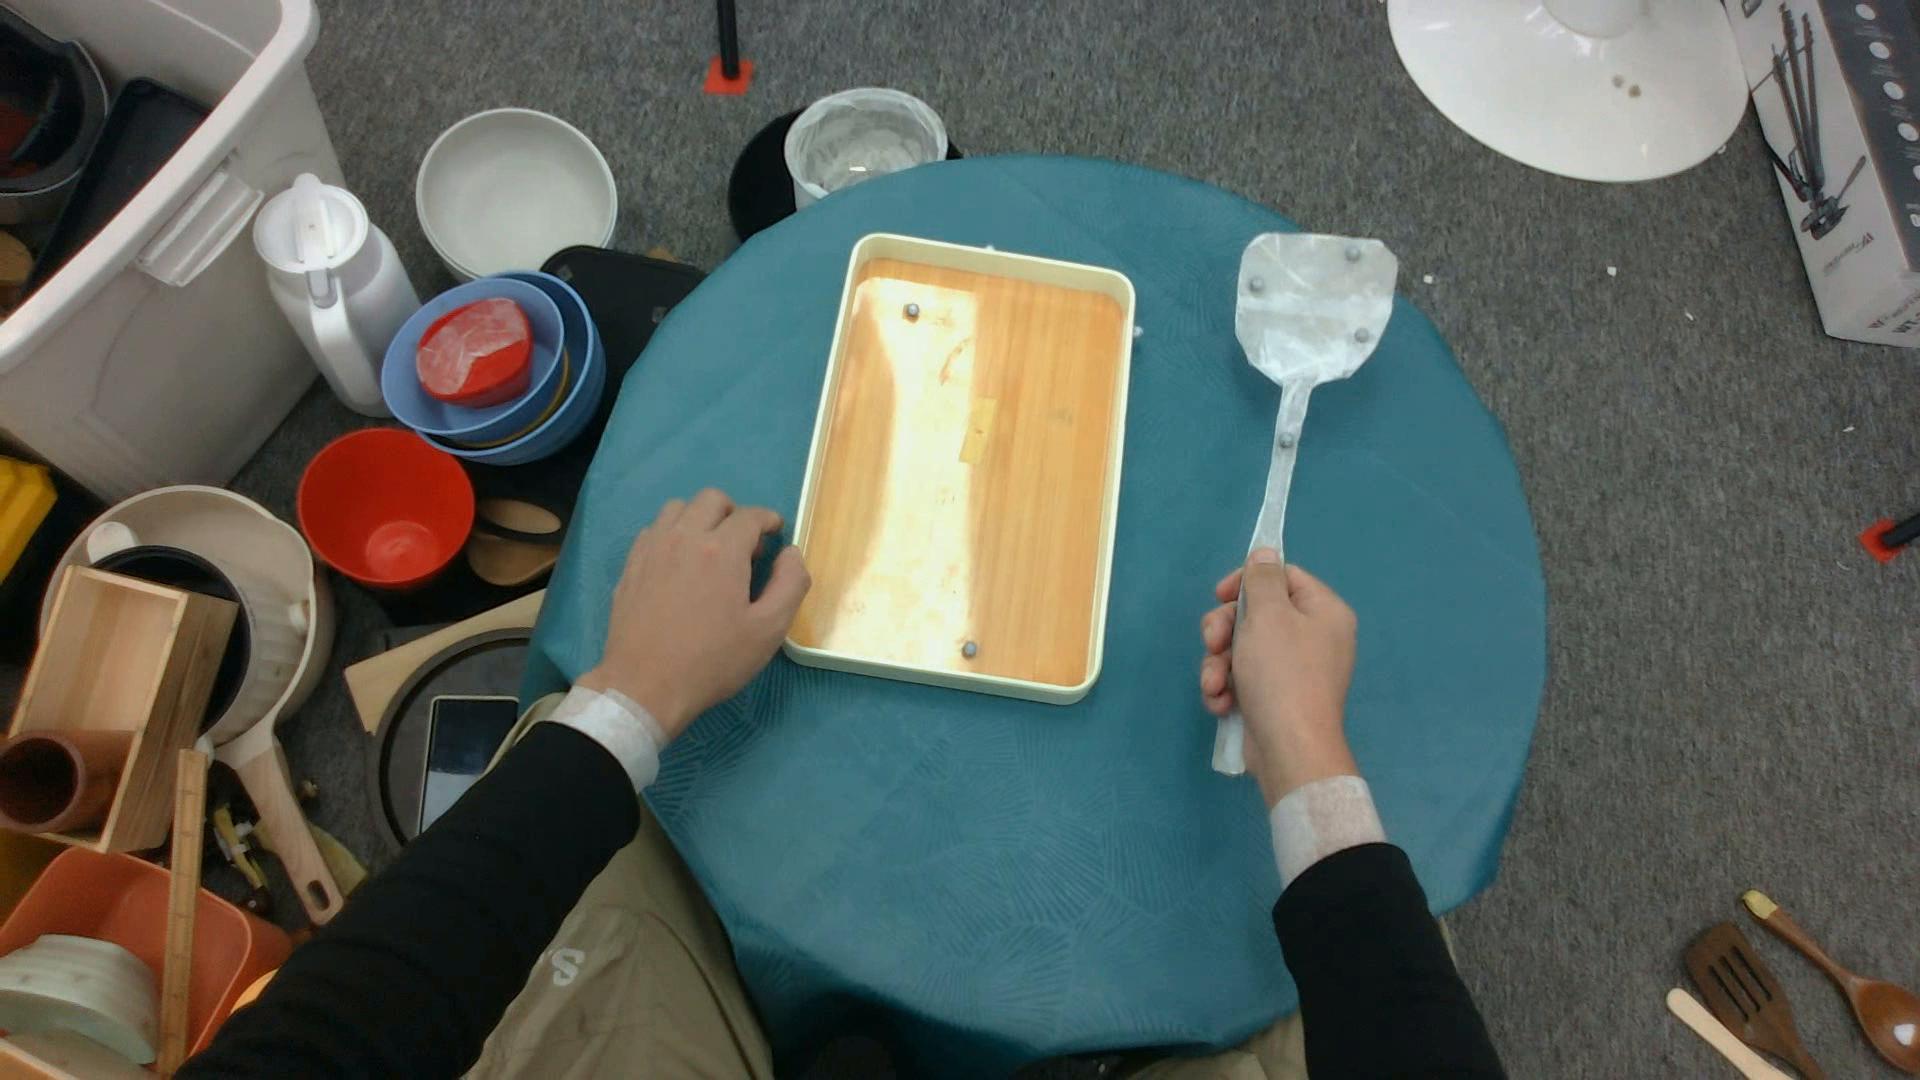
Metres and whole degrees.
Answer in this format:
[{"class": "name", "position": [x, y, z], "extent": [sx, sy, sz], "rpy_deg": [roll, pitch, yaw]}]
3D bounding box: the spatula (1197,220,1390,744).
[{"class": "spatula", "position": [0.185, -0.047, 0.813], "extent": [0.098, 0.044, 0.366], "rpy_deg": [10, 56, 14]}]

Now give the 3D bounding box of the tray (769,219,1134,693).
[{"class": "tray", "position": [0.001, -0.061, 0.856], "extent": [0.191, 0.027, 0.301], "rpy_deg": [10, 65, -1]}]
